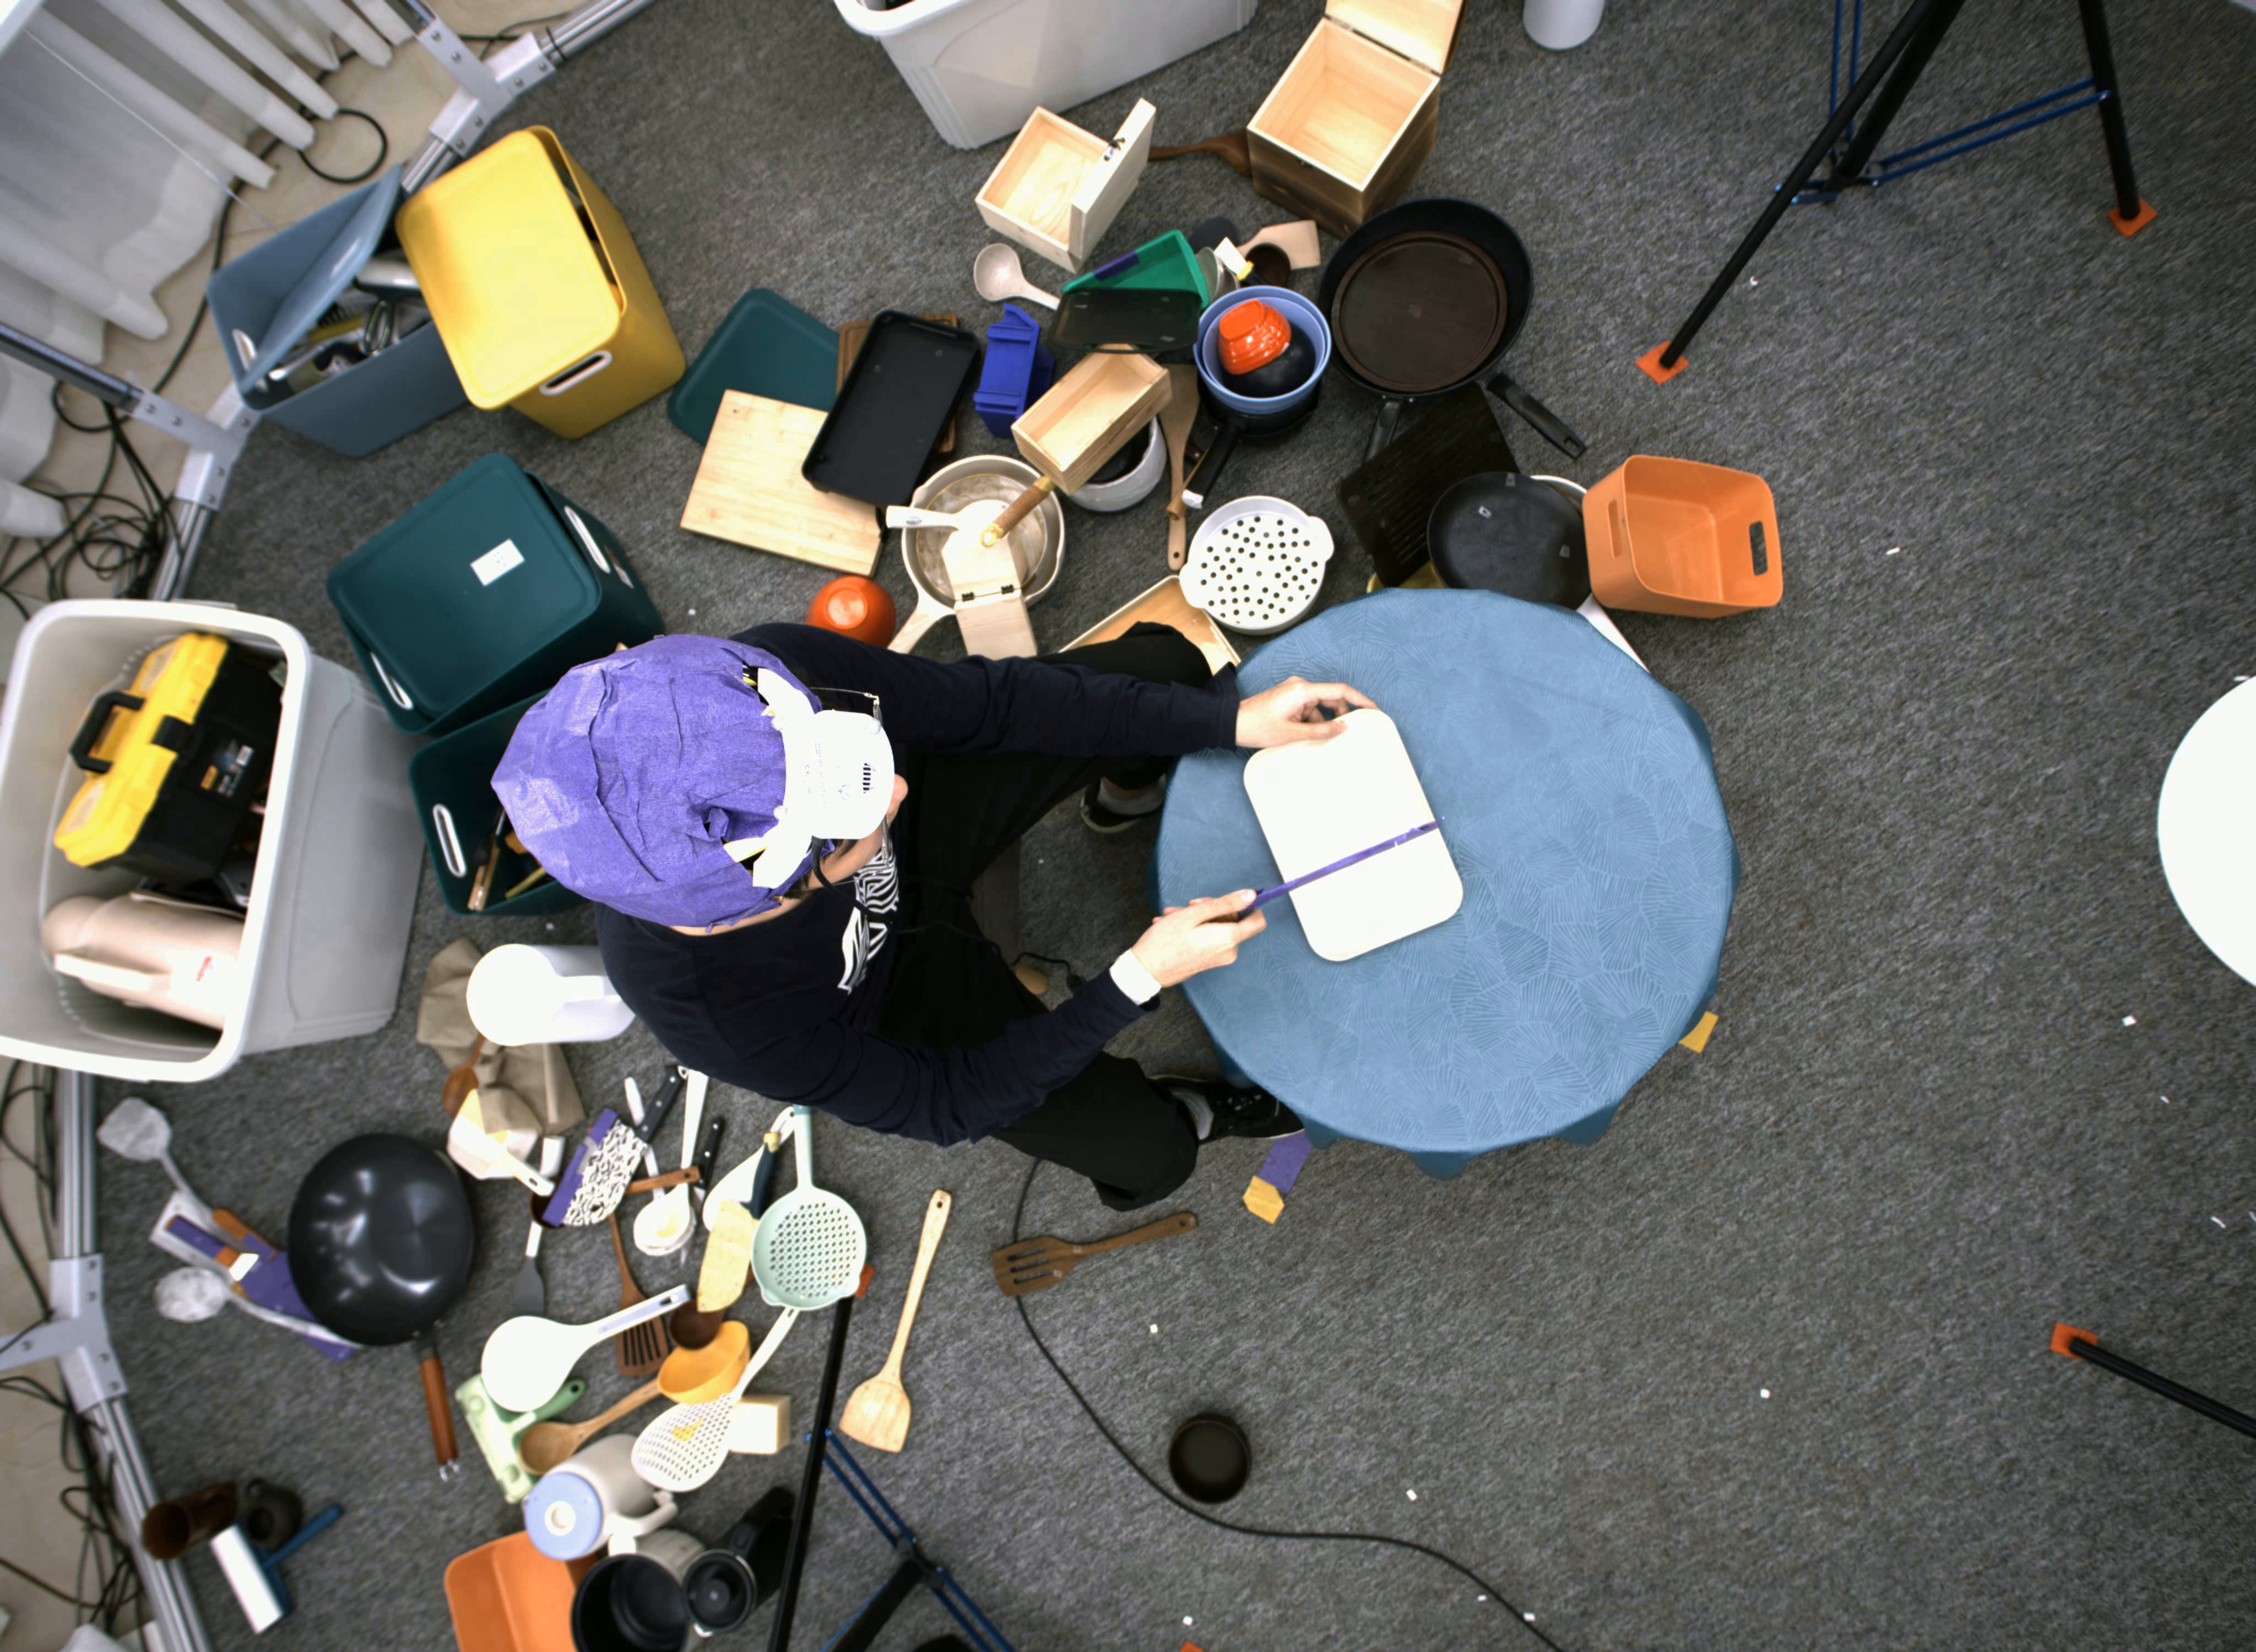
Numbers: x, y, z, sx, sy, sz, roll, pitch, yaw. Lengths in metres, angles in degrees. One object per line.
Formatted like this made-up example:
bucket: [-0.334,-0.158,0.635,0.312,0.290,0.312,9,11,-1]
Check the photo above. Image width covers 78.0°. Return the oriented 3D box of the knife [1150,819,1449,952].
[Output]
knife: [0.176,0.059,1.400,0.317,0.104,0.032,-22,80,9]

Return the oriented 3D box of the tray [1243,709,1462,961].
tray: [0.235,0.008,1.454,0.172,0.017,0.239,-22,87,9]
